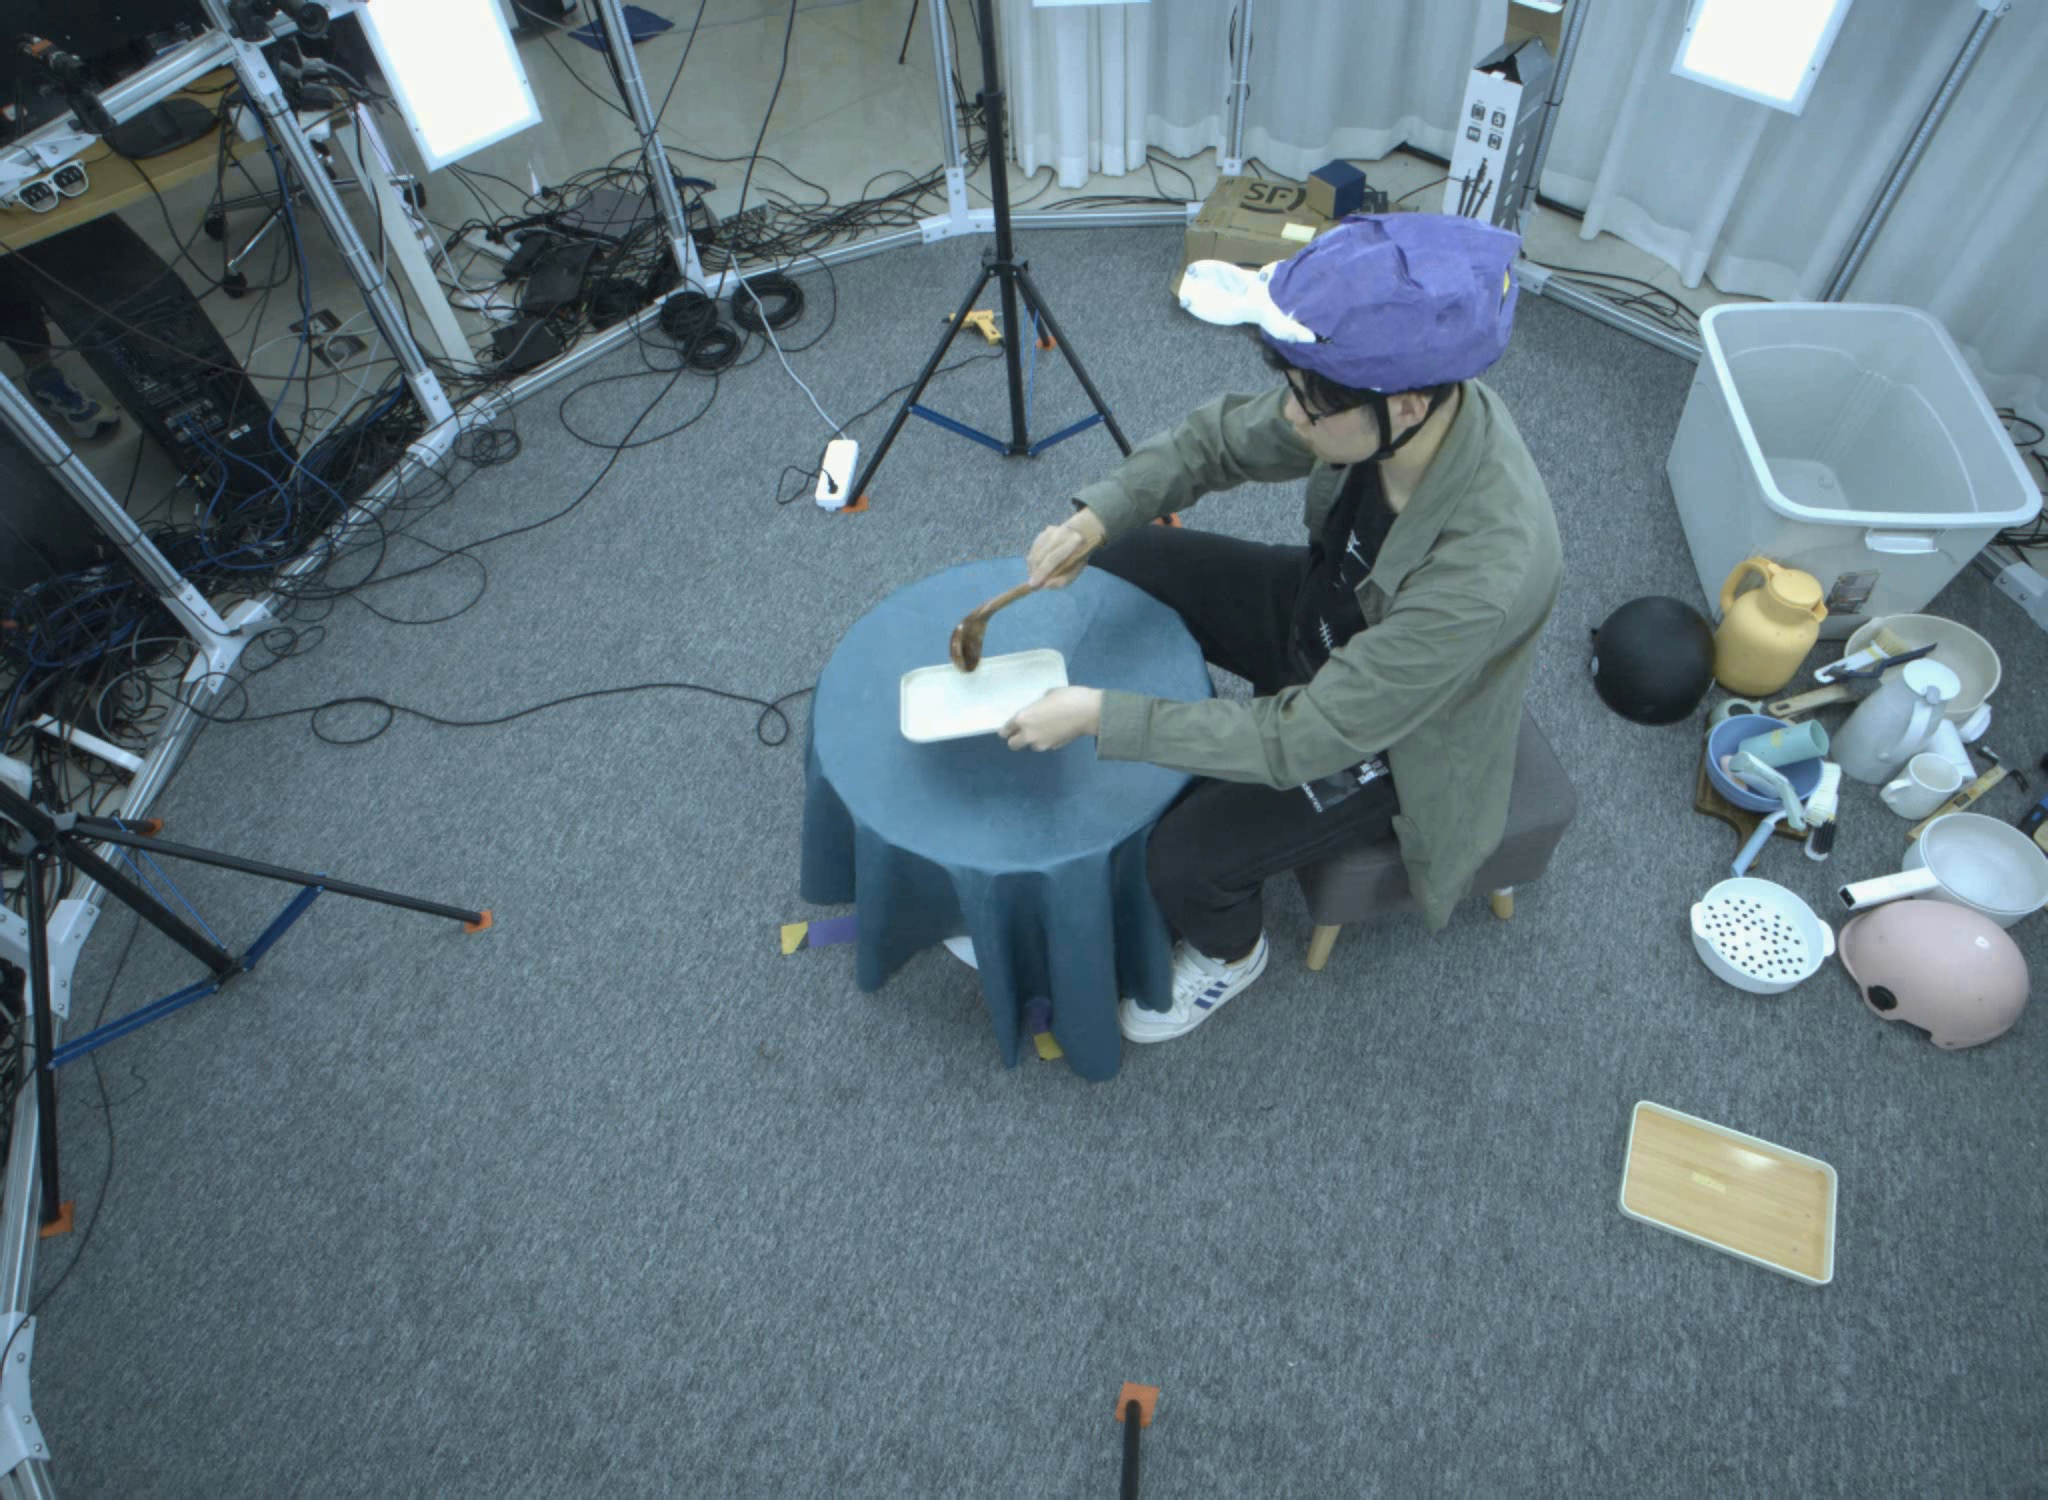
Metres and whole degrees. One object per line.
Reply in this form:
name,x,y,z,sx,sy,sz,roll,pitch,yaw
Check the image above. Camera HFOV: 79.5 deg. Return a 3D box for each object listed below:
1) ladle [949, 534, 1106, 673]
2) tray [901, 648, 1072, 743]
ladle,0.009,-0.201,1.718,0.273,0.082,0.076,-30,87,11
tray,-0.056,-0.077,1.745,0.240,0.018,0.169,-8,40,0
